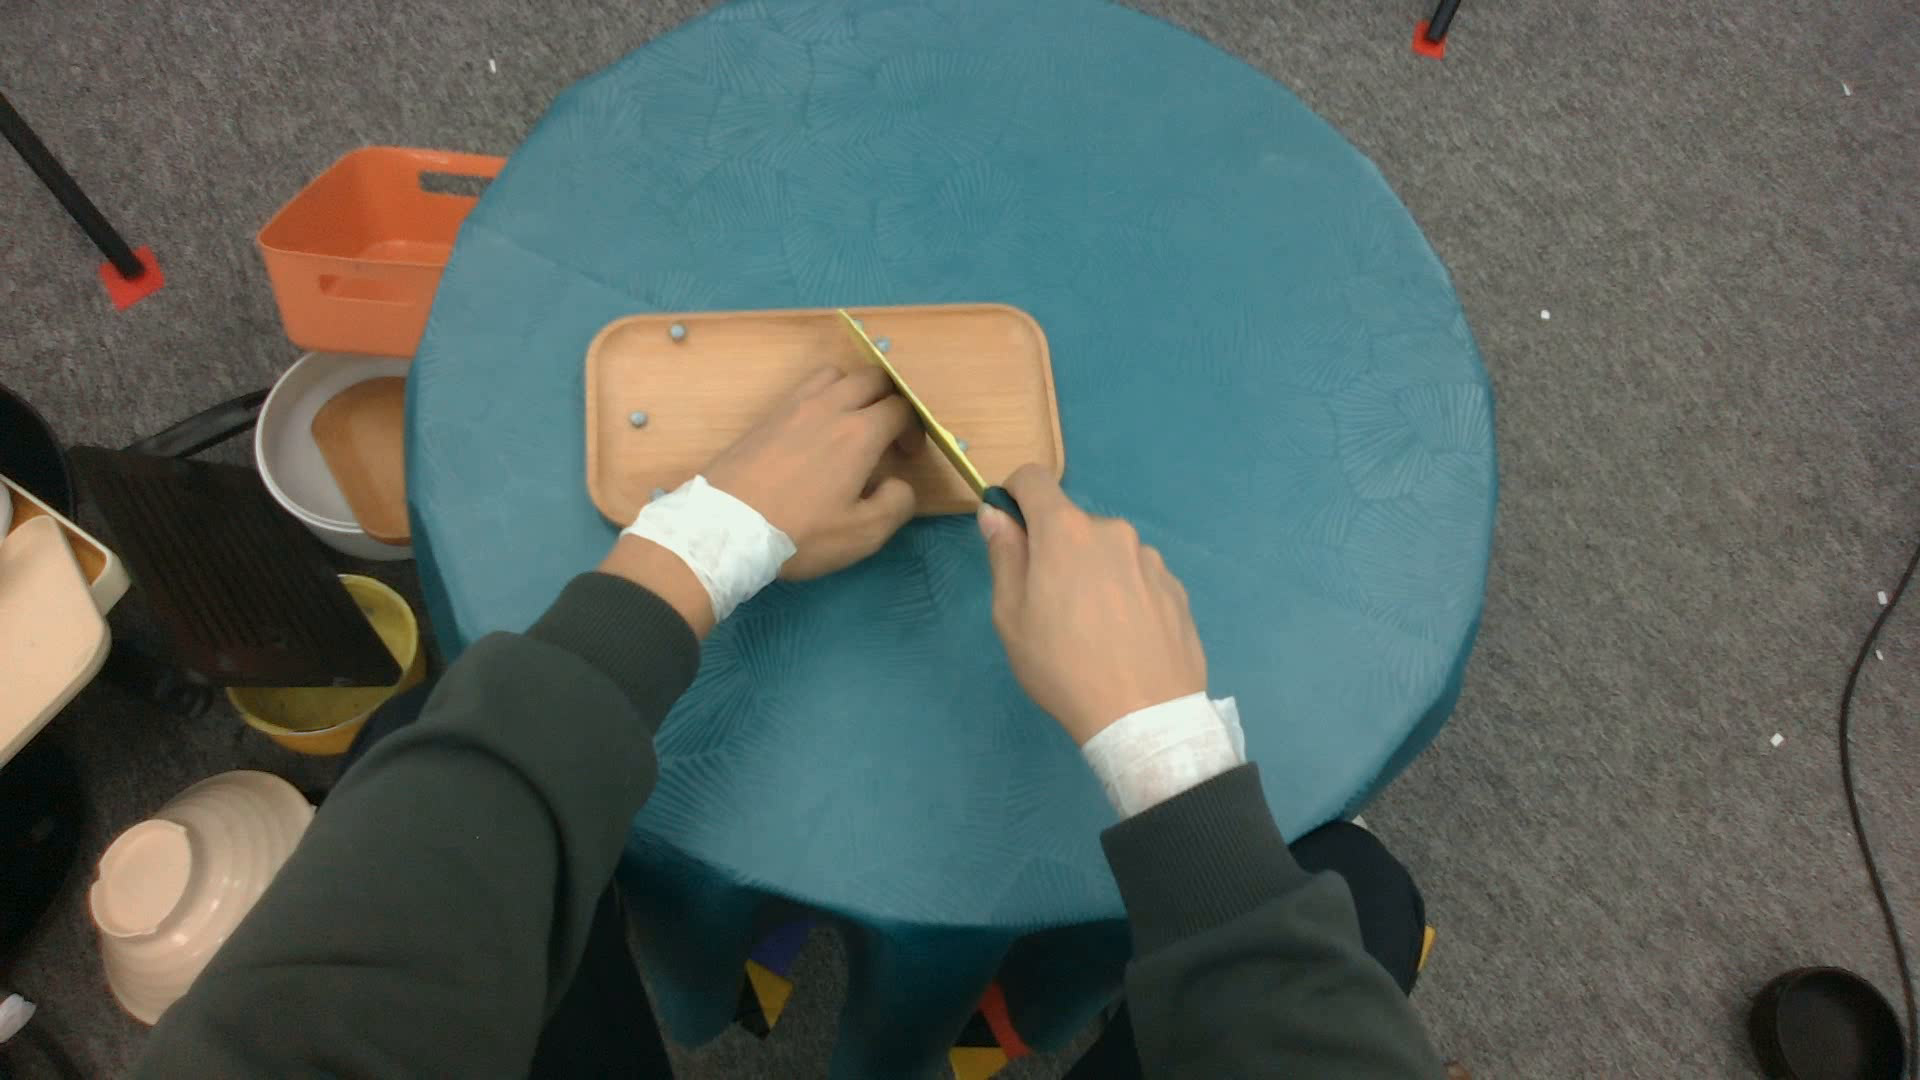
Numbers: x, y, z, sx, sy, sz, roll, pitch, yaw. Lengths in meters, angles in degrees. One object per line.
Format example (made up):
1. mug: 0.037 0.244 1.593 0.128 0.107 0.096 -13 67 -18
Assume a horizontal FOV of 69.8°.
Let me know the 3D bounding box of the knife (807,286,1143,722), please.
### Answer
1. knife: -0.002 -0.026 0.672 0.027 0.081 0.290 -36 66 0

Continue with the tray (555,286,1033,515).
1. tray: -0.088 -0.077 0.743 0.251 0.023 0.131 -2 70 -12
